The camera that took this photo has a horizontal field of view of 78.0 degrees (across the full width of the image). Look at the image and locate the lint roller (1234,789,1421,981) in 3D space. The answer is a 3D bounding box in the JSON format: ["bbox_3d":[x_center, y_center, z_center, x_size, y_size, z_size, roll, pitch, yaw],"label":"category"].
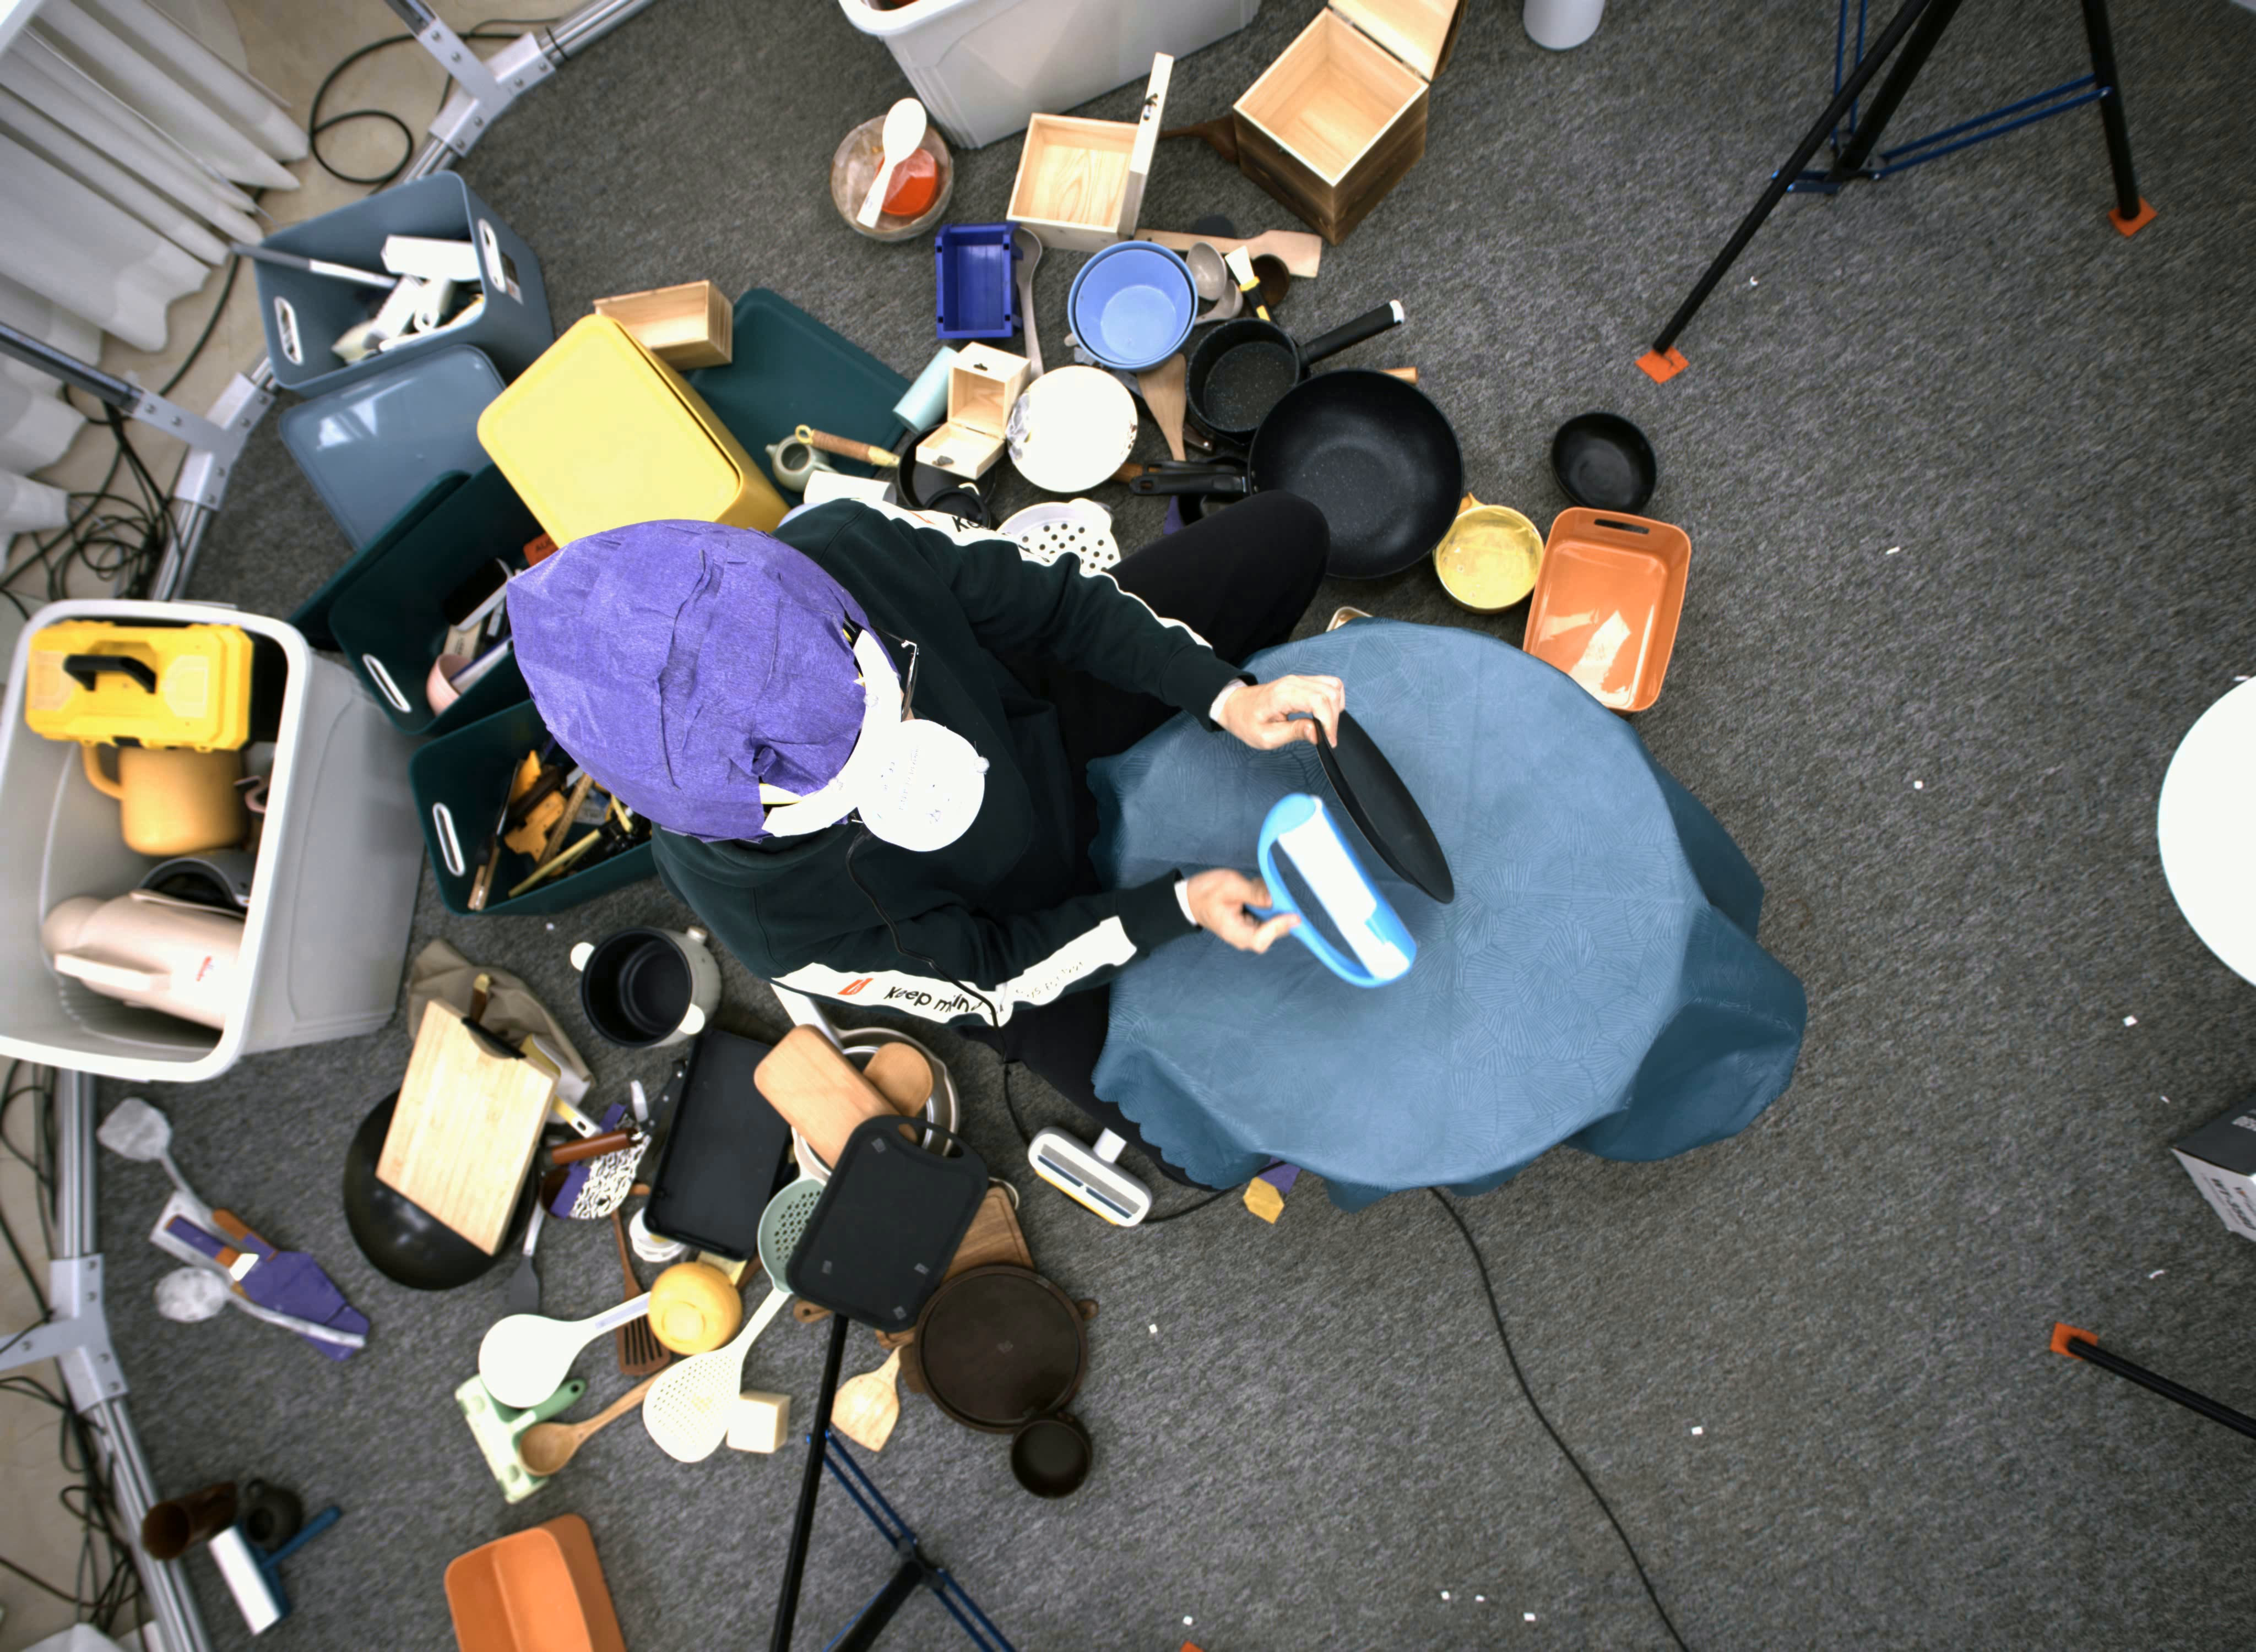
[{"bbox_3d":[0.166,0.065,1.339,0.182,0.066,0.231,-12,127,45],"label":"lint roller"}]

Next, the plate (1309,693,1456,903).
[{"bbox_3d":[0.244,-0.026,1.349,0.024,0.242,0.243,-34,80,20],"label":"plate"}]
